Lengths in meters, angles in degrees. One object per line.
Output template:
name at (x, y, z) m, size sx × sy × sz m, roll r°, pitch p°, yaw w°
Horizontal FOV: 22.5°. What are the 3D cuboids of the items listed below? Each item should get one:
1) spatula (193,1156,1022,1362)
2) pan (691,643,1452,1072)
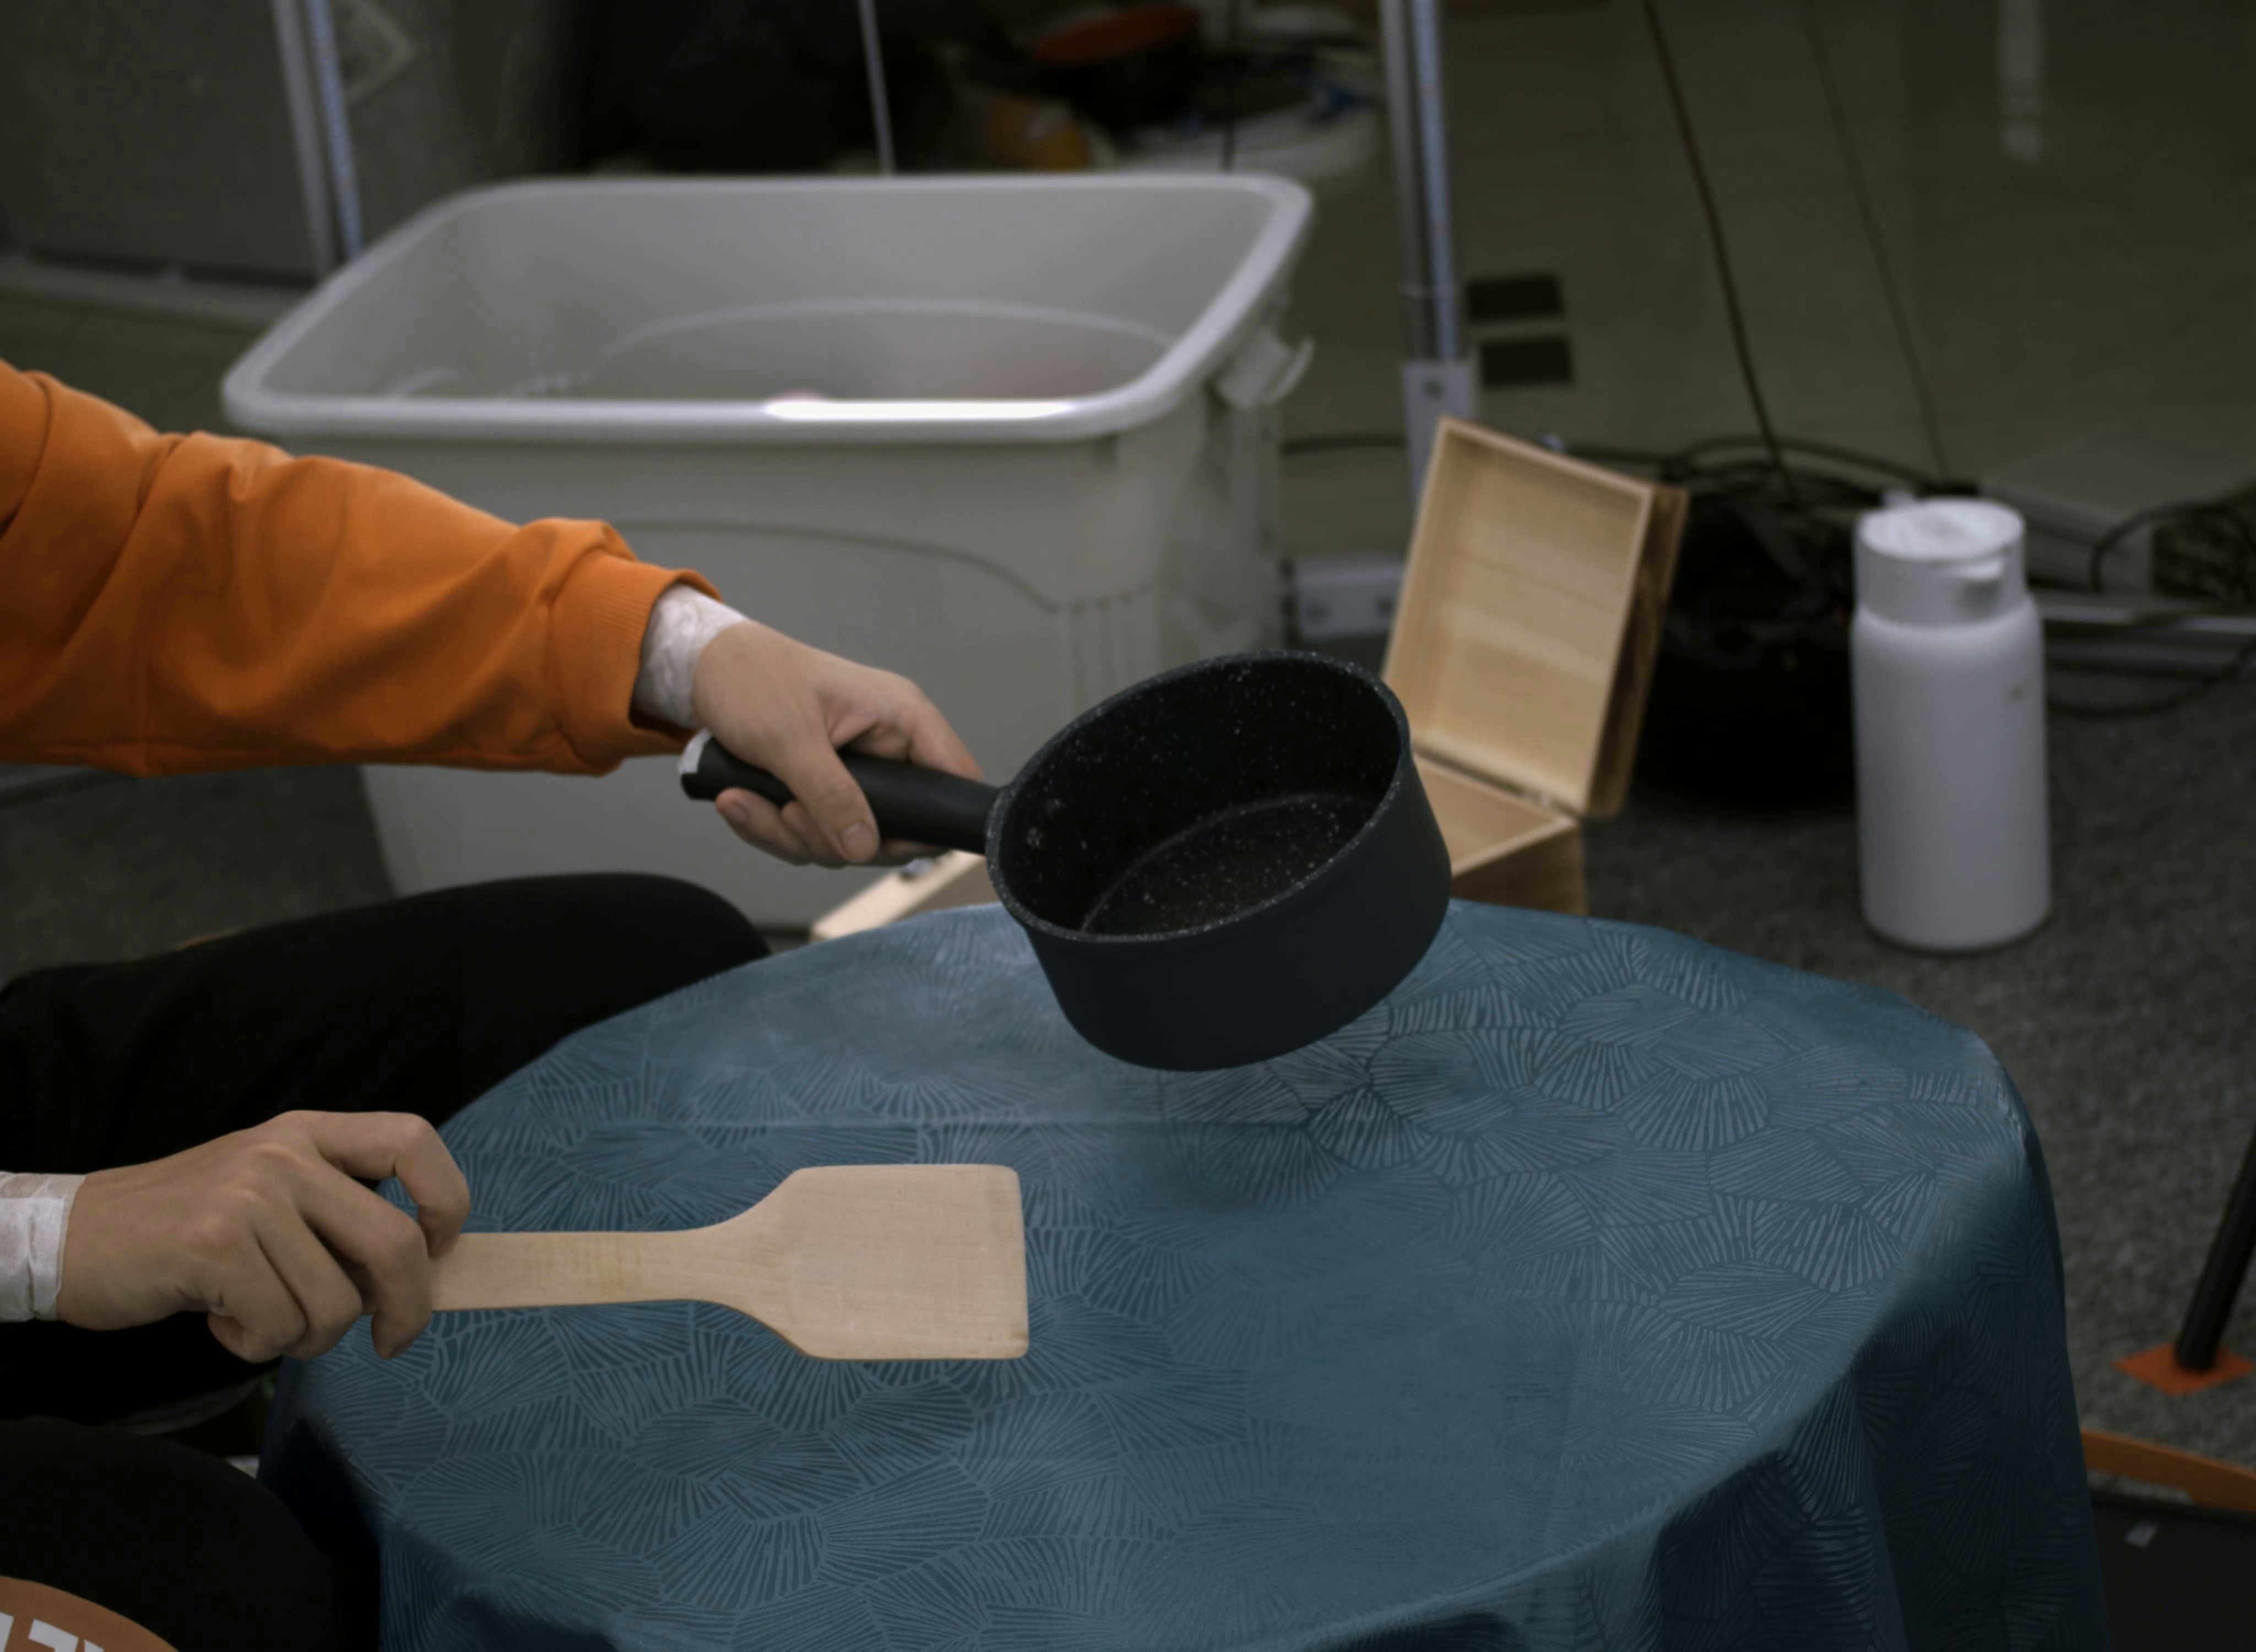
spatula at (-0.177, 0.153, 1.965) m, size 0.292 × 0.072 × 0.011 m, roll 0°, pitch -8°, yaw -17°
pan at (-0.028, 0.005, 2.227) m, size 0.327 × 0.088 × 0.169 m, roll 8°, pitch 46°, yaw 34°
